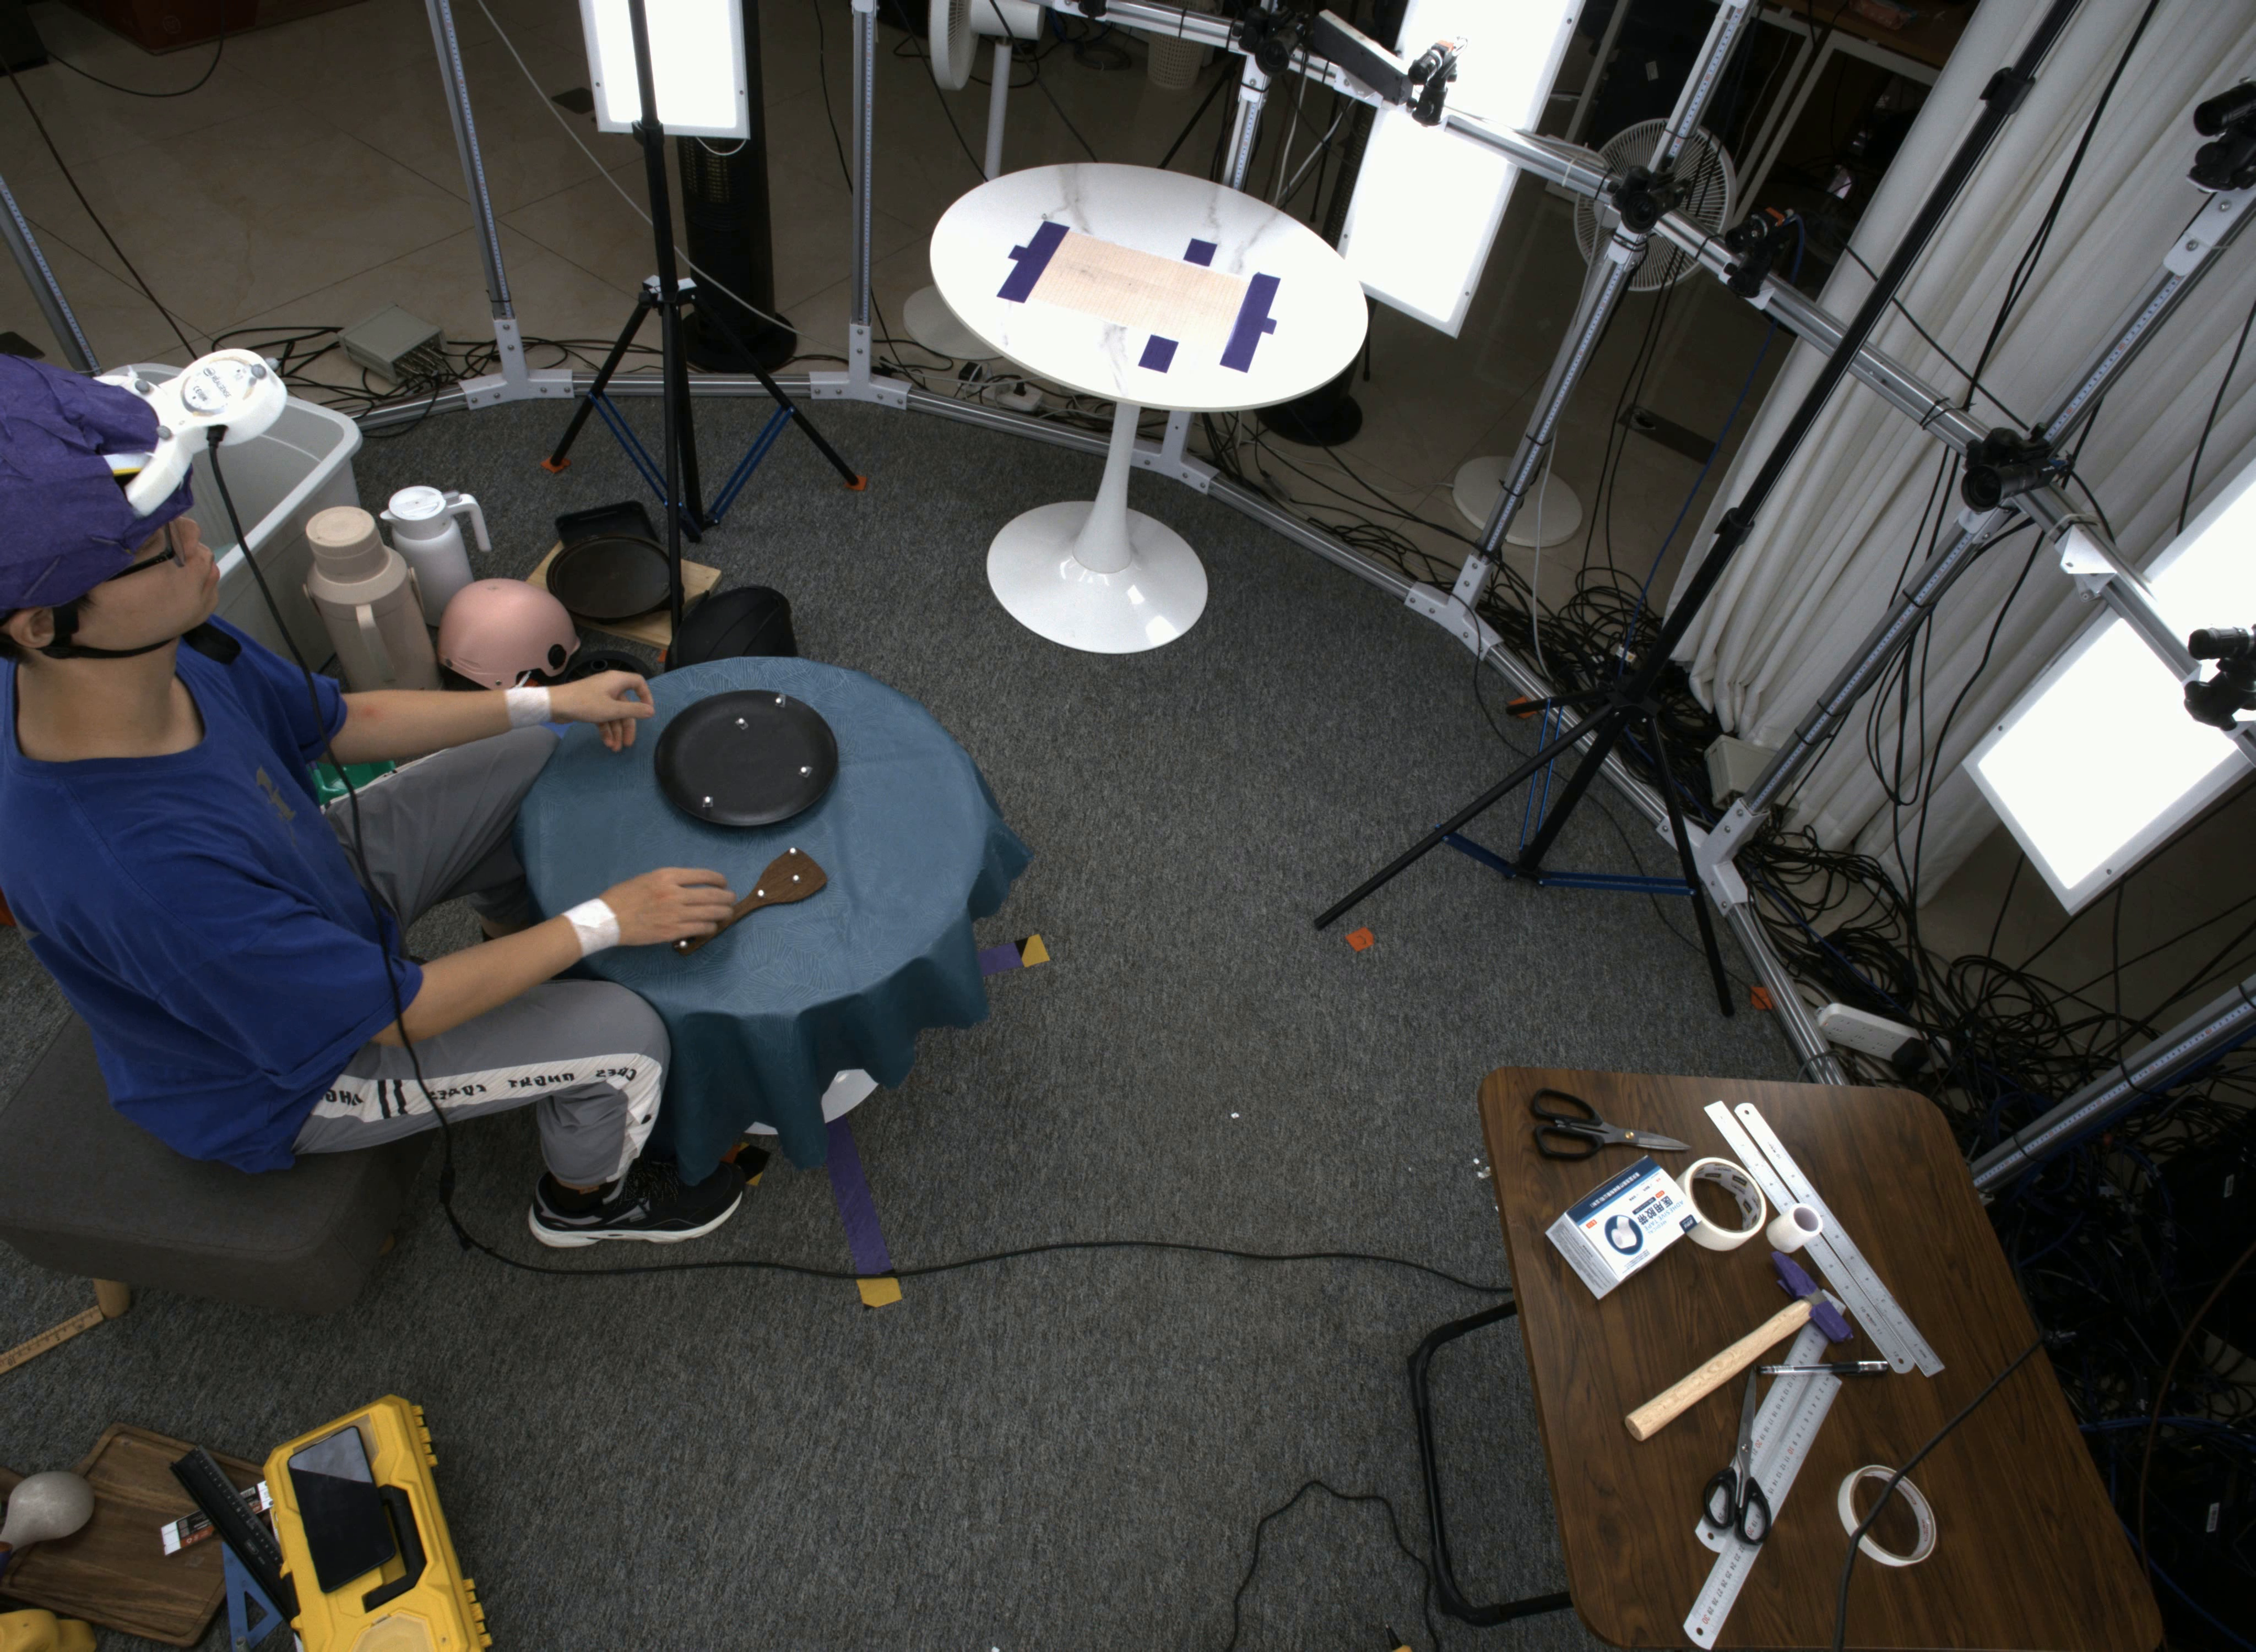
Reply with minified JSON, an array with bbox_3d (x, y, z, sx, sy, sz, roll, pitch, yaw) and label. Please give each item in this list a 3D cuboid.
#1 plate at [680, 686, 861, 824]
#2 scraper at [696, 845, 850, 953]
[{"bbox_3d":[-0.488,-0.095,1.773,0.244,0.024,0.240,8,53,-9],"label":"plate"},{"bbox_3d":[-0.456,0.096,1.649,0.212,0.011,0.074,-35,68,-31],"label":"scraper"}]
